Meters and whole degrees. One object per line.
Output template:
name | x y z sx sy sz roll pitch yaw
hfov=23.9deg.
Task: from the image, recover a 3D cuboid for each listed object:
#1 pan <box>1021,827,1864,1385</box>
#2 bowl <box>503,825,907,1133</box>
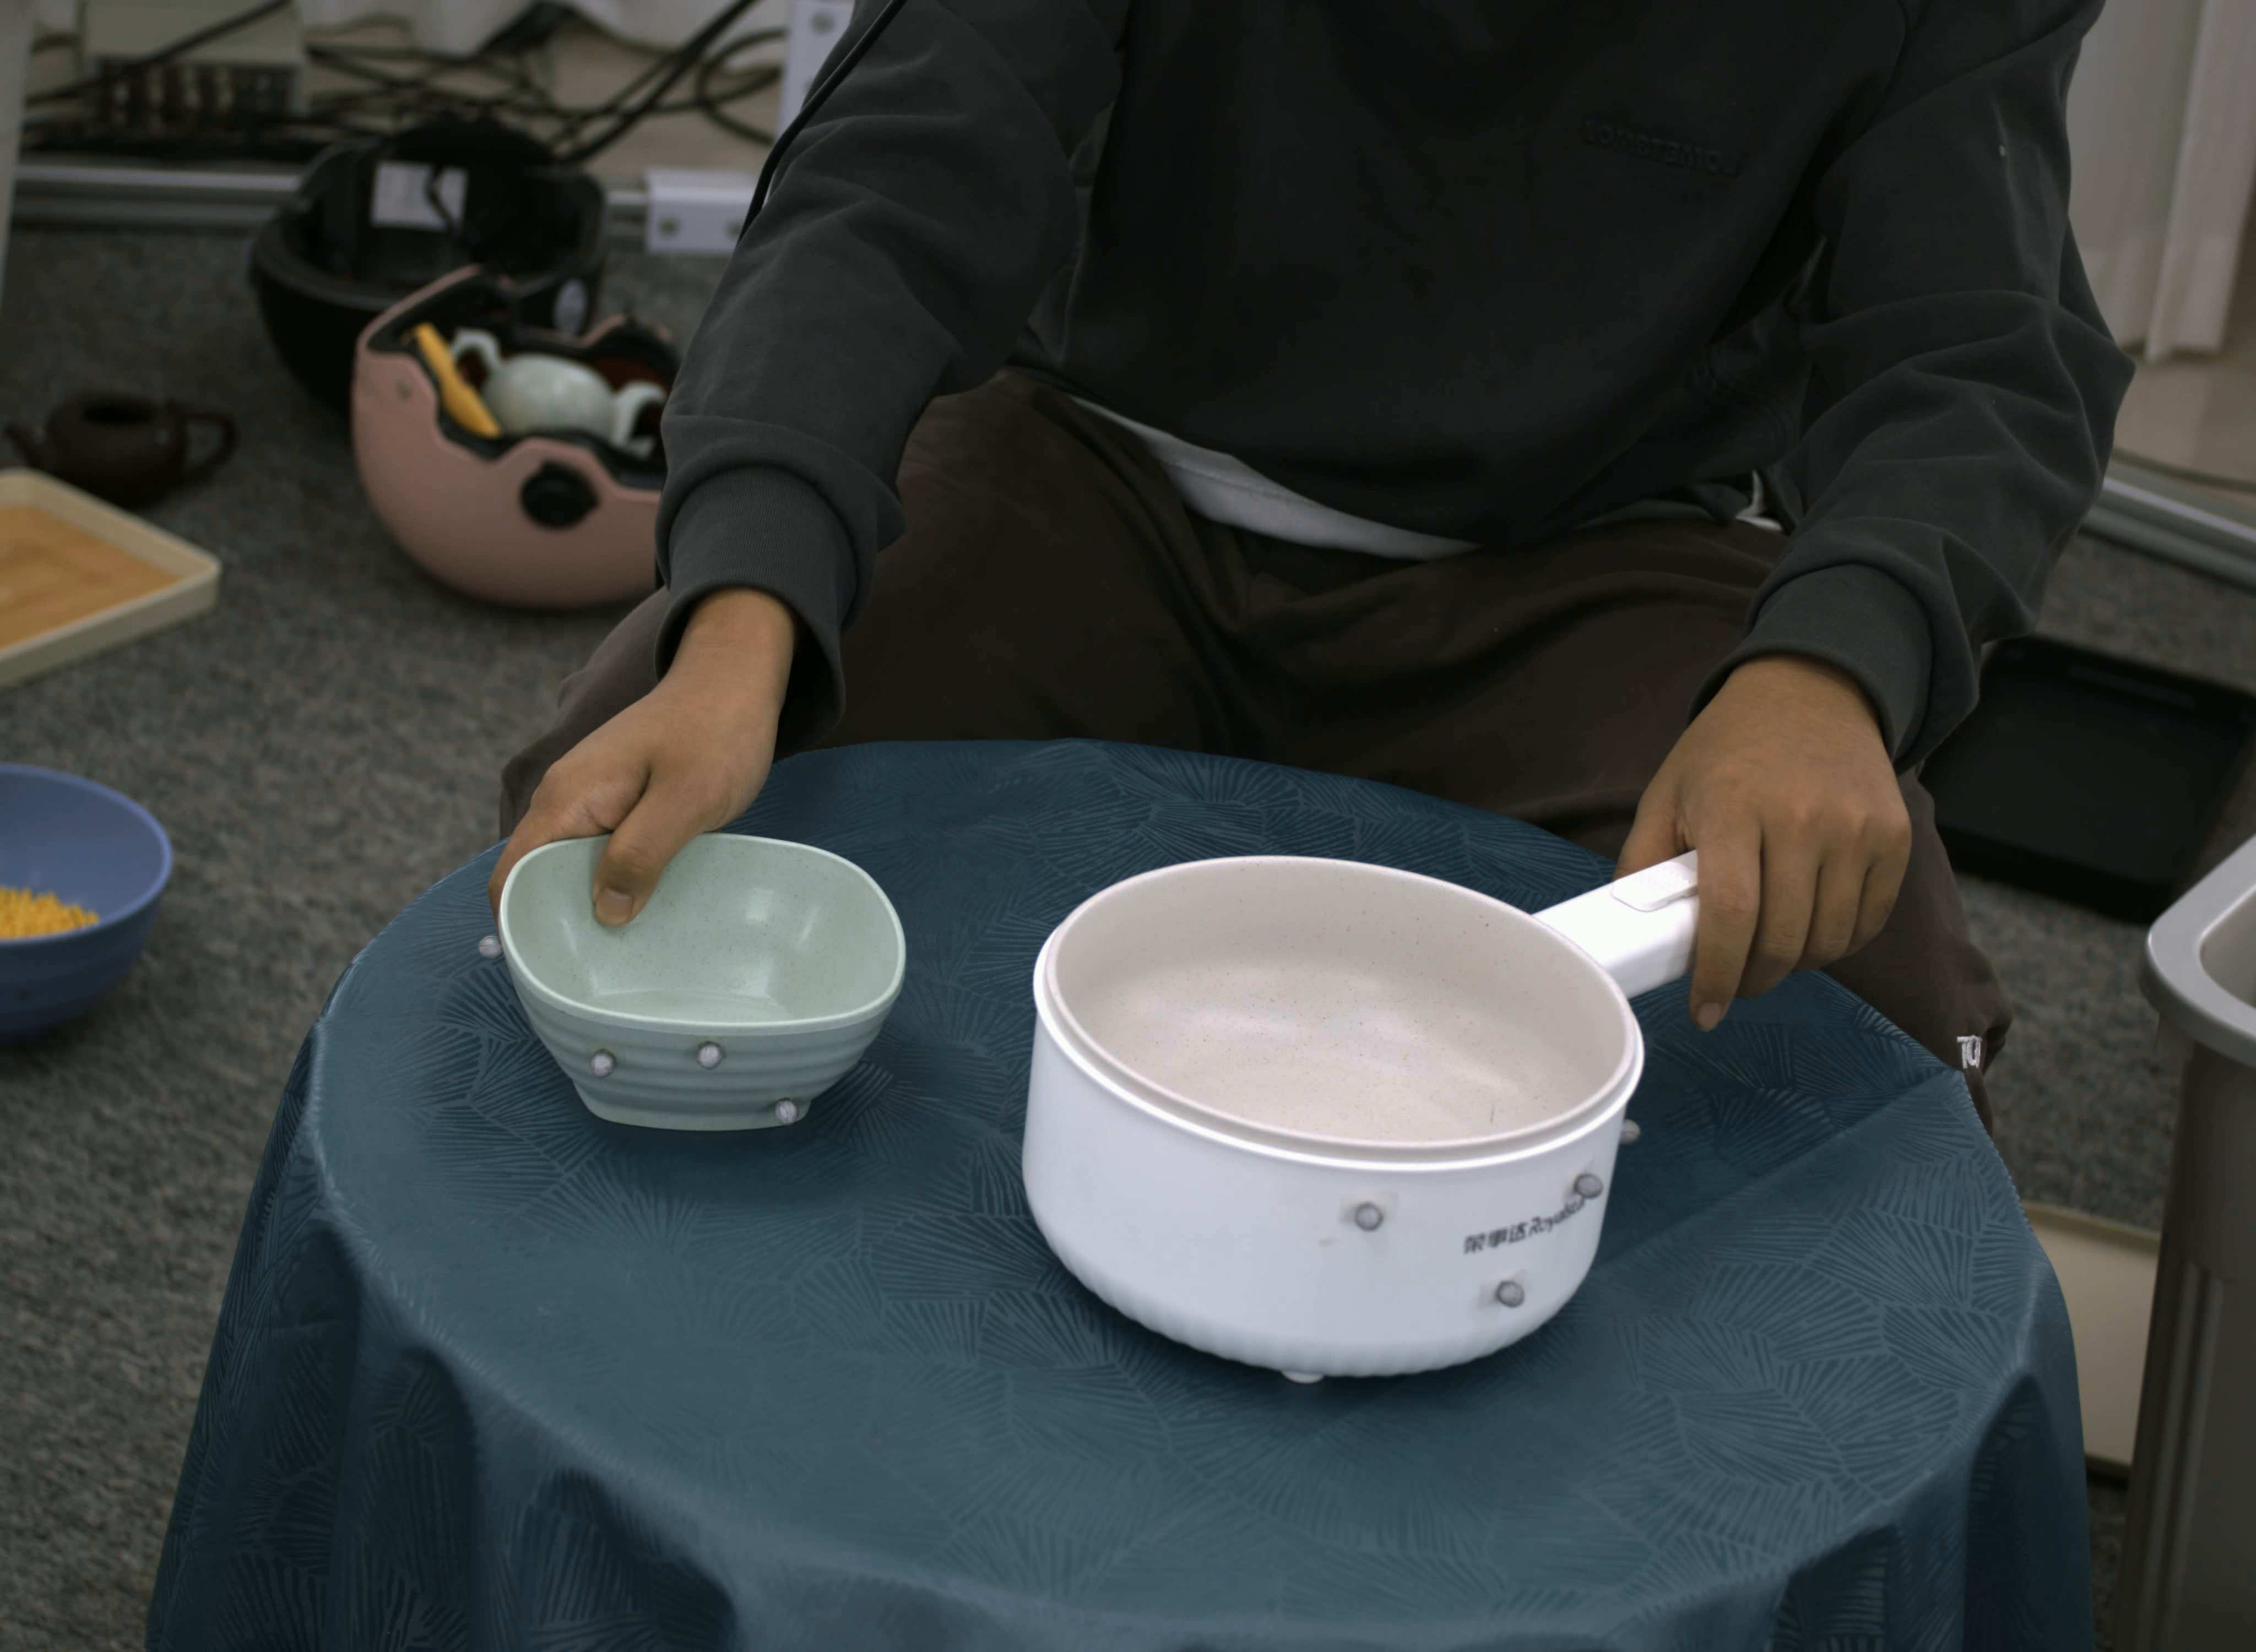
pan | 0.118 0.085 1.810 0.353 0.102 0.203 -17 34 -41
bowl | -0.148 0.059 1.837 0.151 0.058 0.152 5 29 -3
